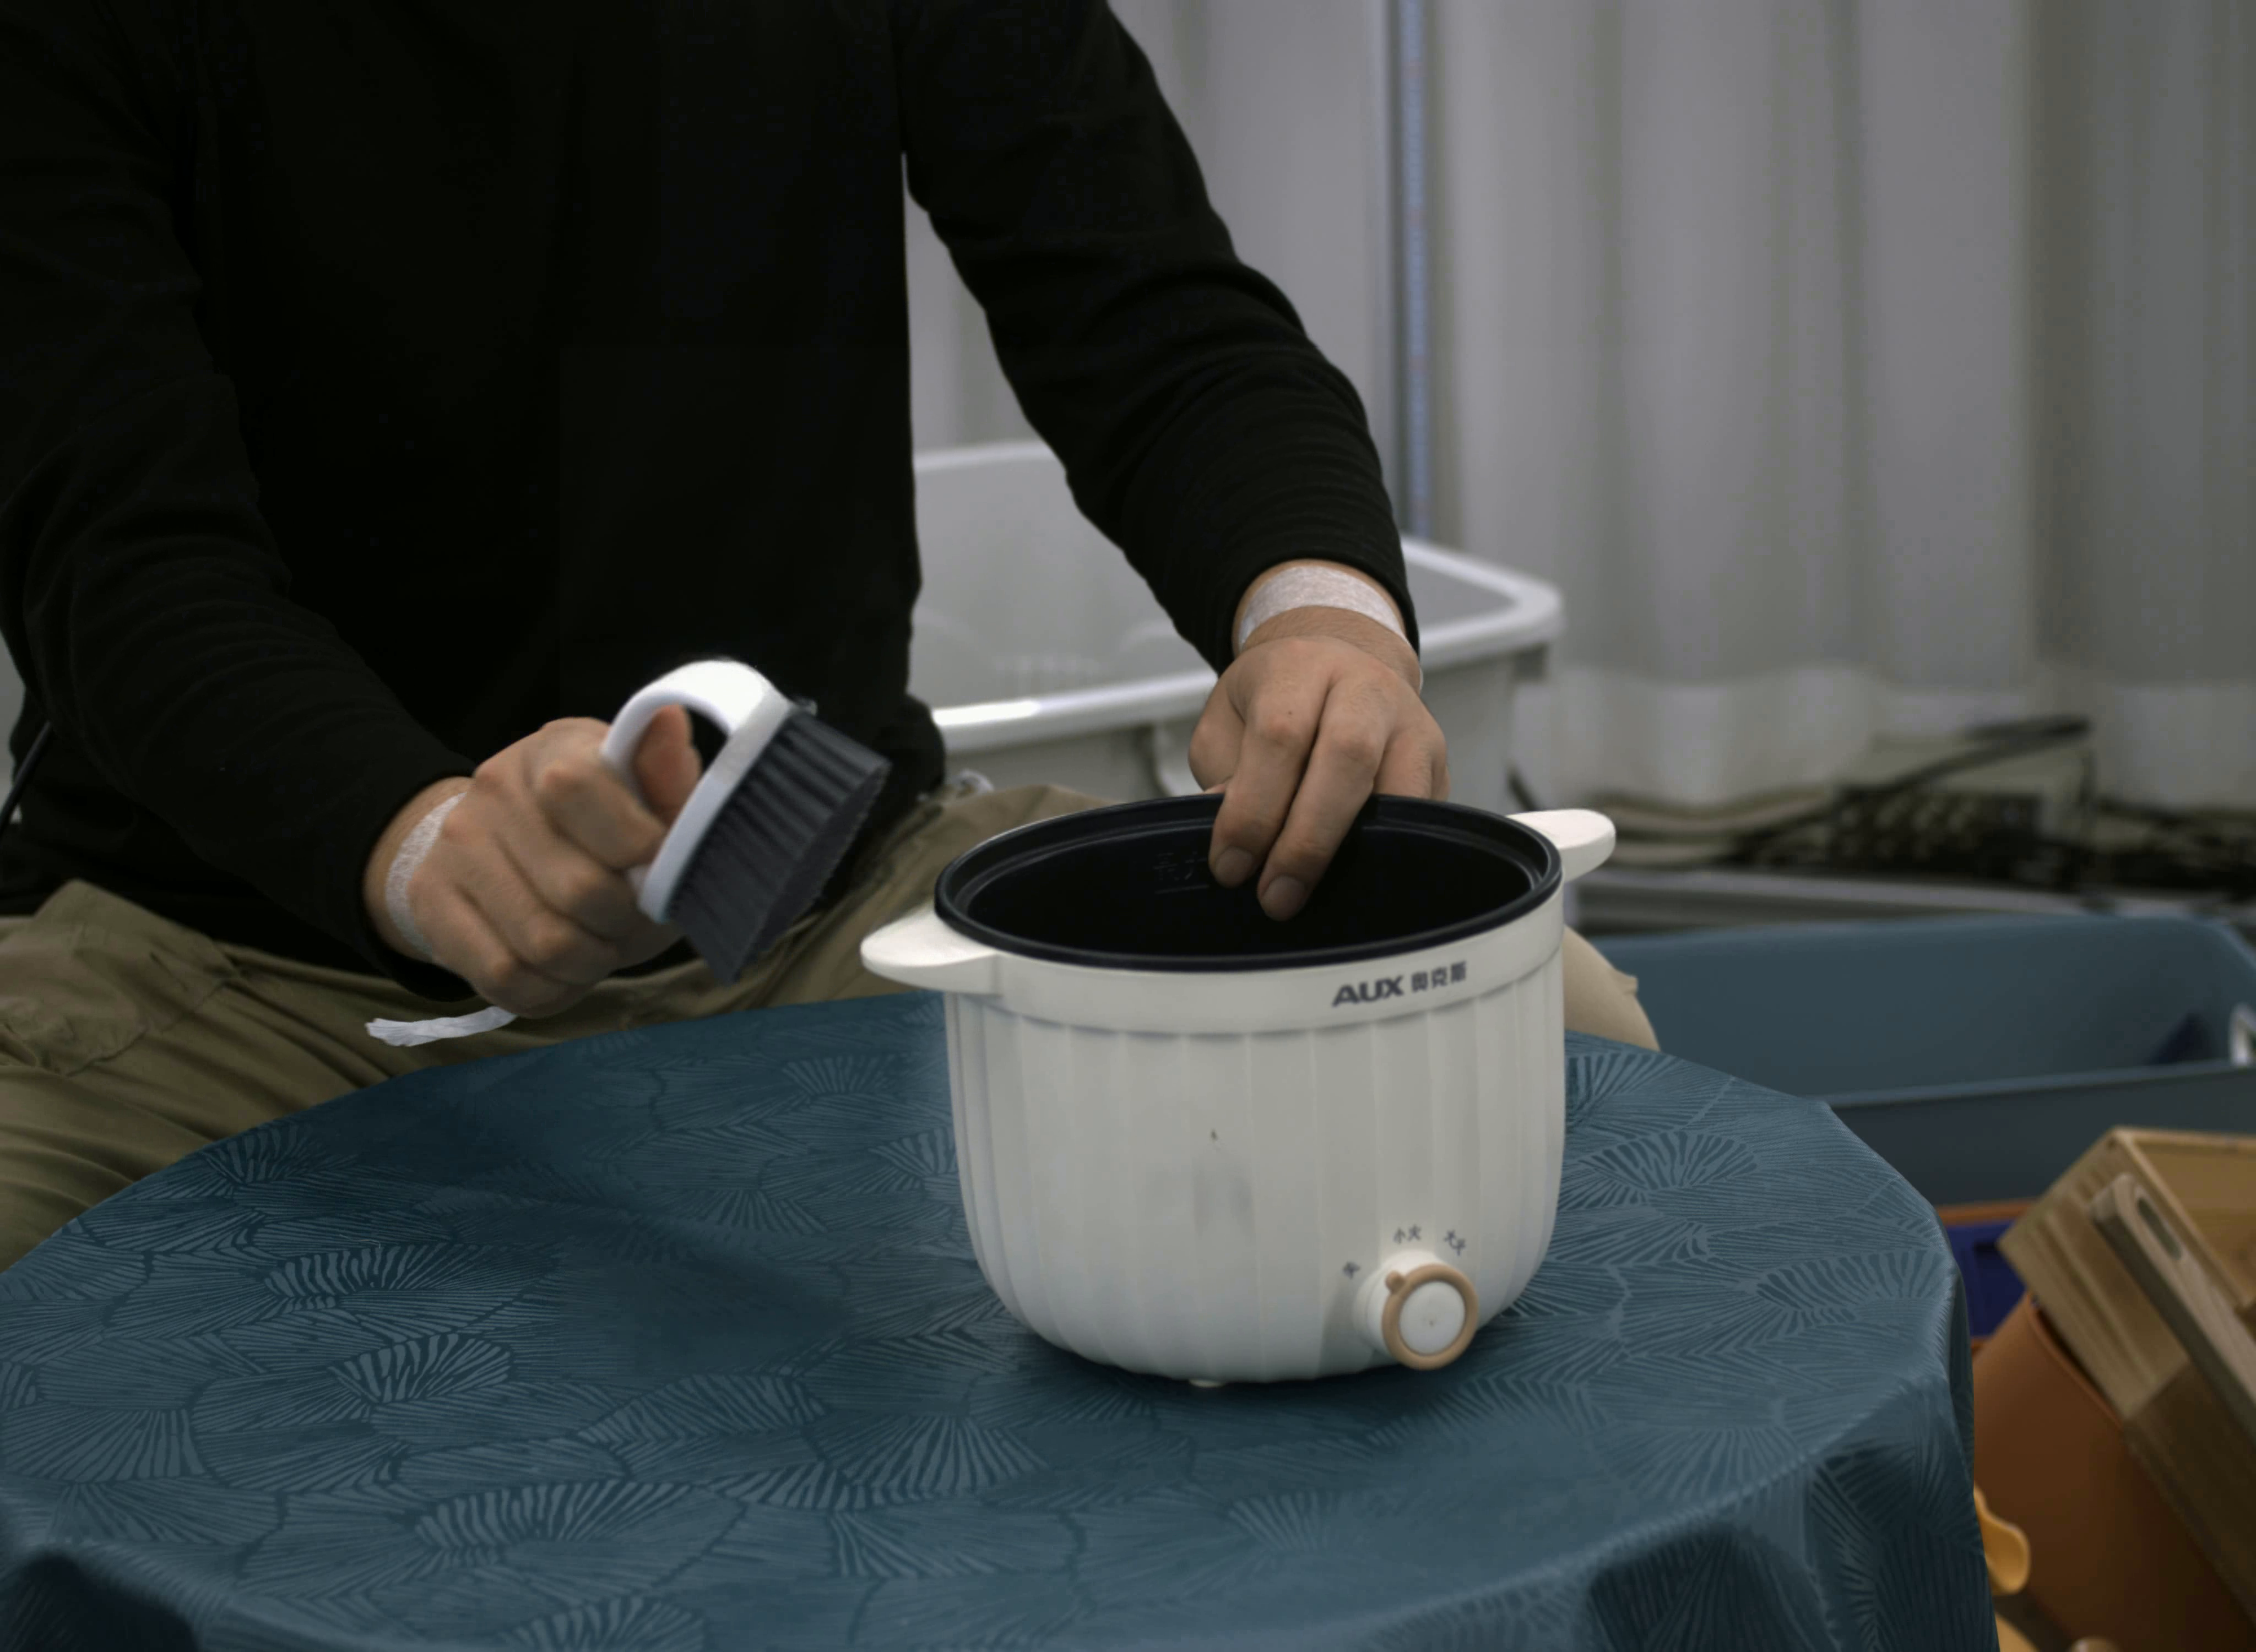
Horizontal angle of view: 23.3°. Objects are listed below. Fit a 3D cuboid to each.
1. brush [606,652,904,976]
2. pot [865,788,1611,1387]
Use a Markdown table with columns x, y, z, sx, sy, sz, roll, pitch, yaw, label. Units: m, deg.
| x | y | z | sx | sy | sz | roll | pitch | yaw | label |
| --- | --- | --- | --- | --- | --- | --- | --- | --- | --- |
| -0.115 | -0.010 | 1.574 | 0.072 | 0.098 | 0.050 | 39 | 50 | 7 | brush |
| 0.041 | 0.077 | 1.580 | 0.239 | 0.142 | 0.192 | -11 | 14 | -25 | pot |
